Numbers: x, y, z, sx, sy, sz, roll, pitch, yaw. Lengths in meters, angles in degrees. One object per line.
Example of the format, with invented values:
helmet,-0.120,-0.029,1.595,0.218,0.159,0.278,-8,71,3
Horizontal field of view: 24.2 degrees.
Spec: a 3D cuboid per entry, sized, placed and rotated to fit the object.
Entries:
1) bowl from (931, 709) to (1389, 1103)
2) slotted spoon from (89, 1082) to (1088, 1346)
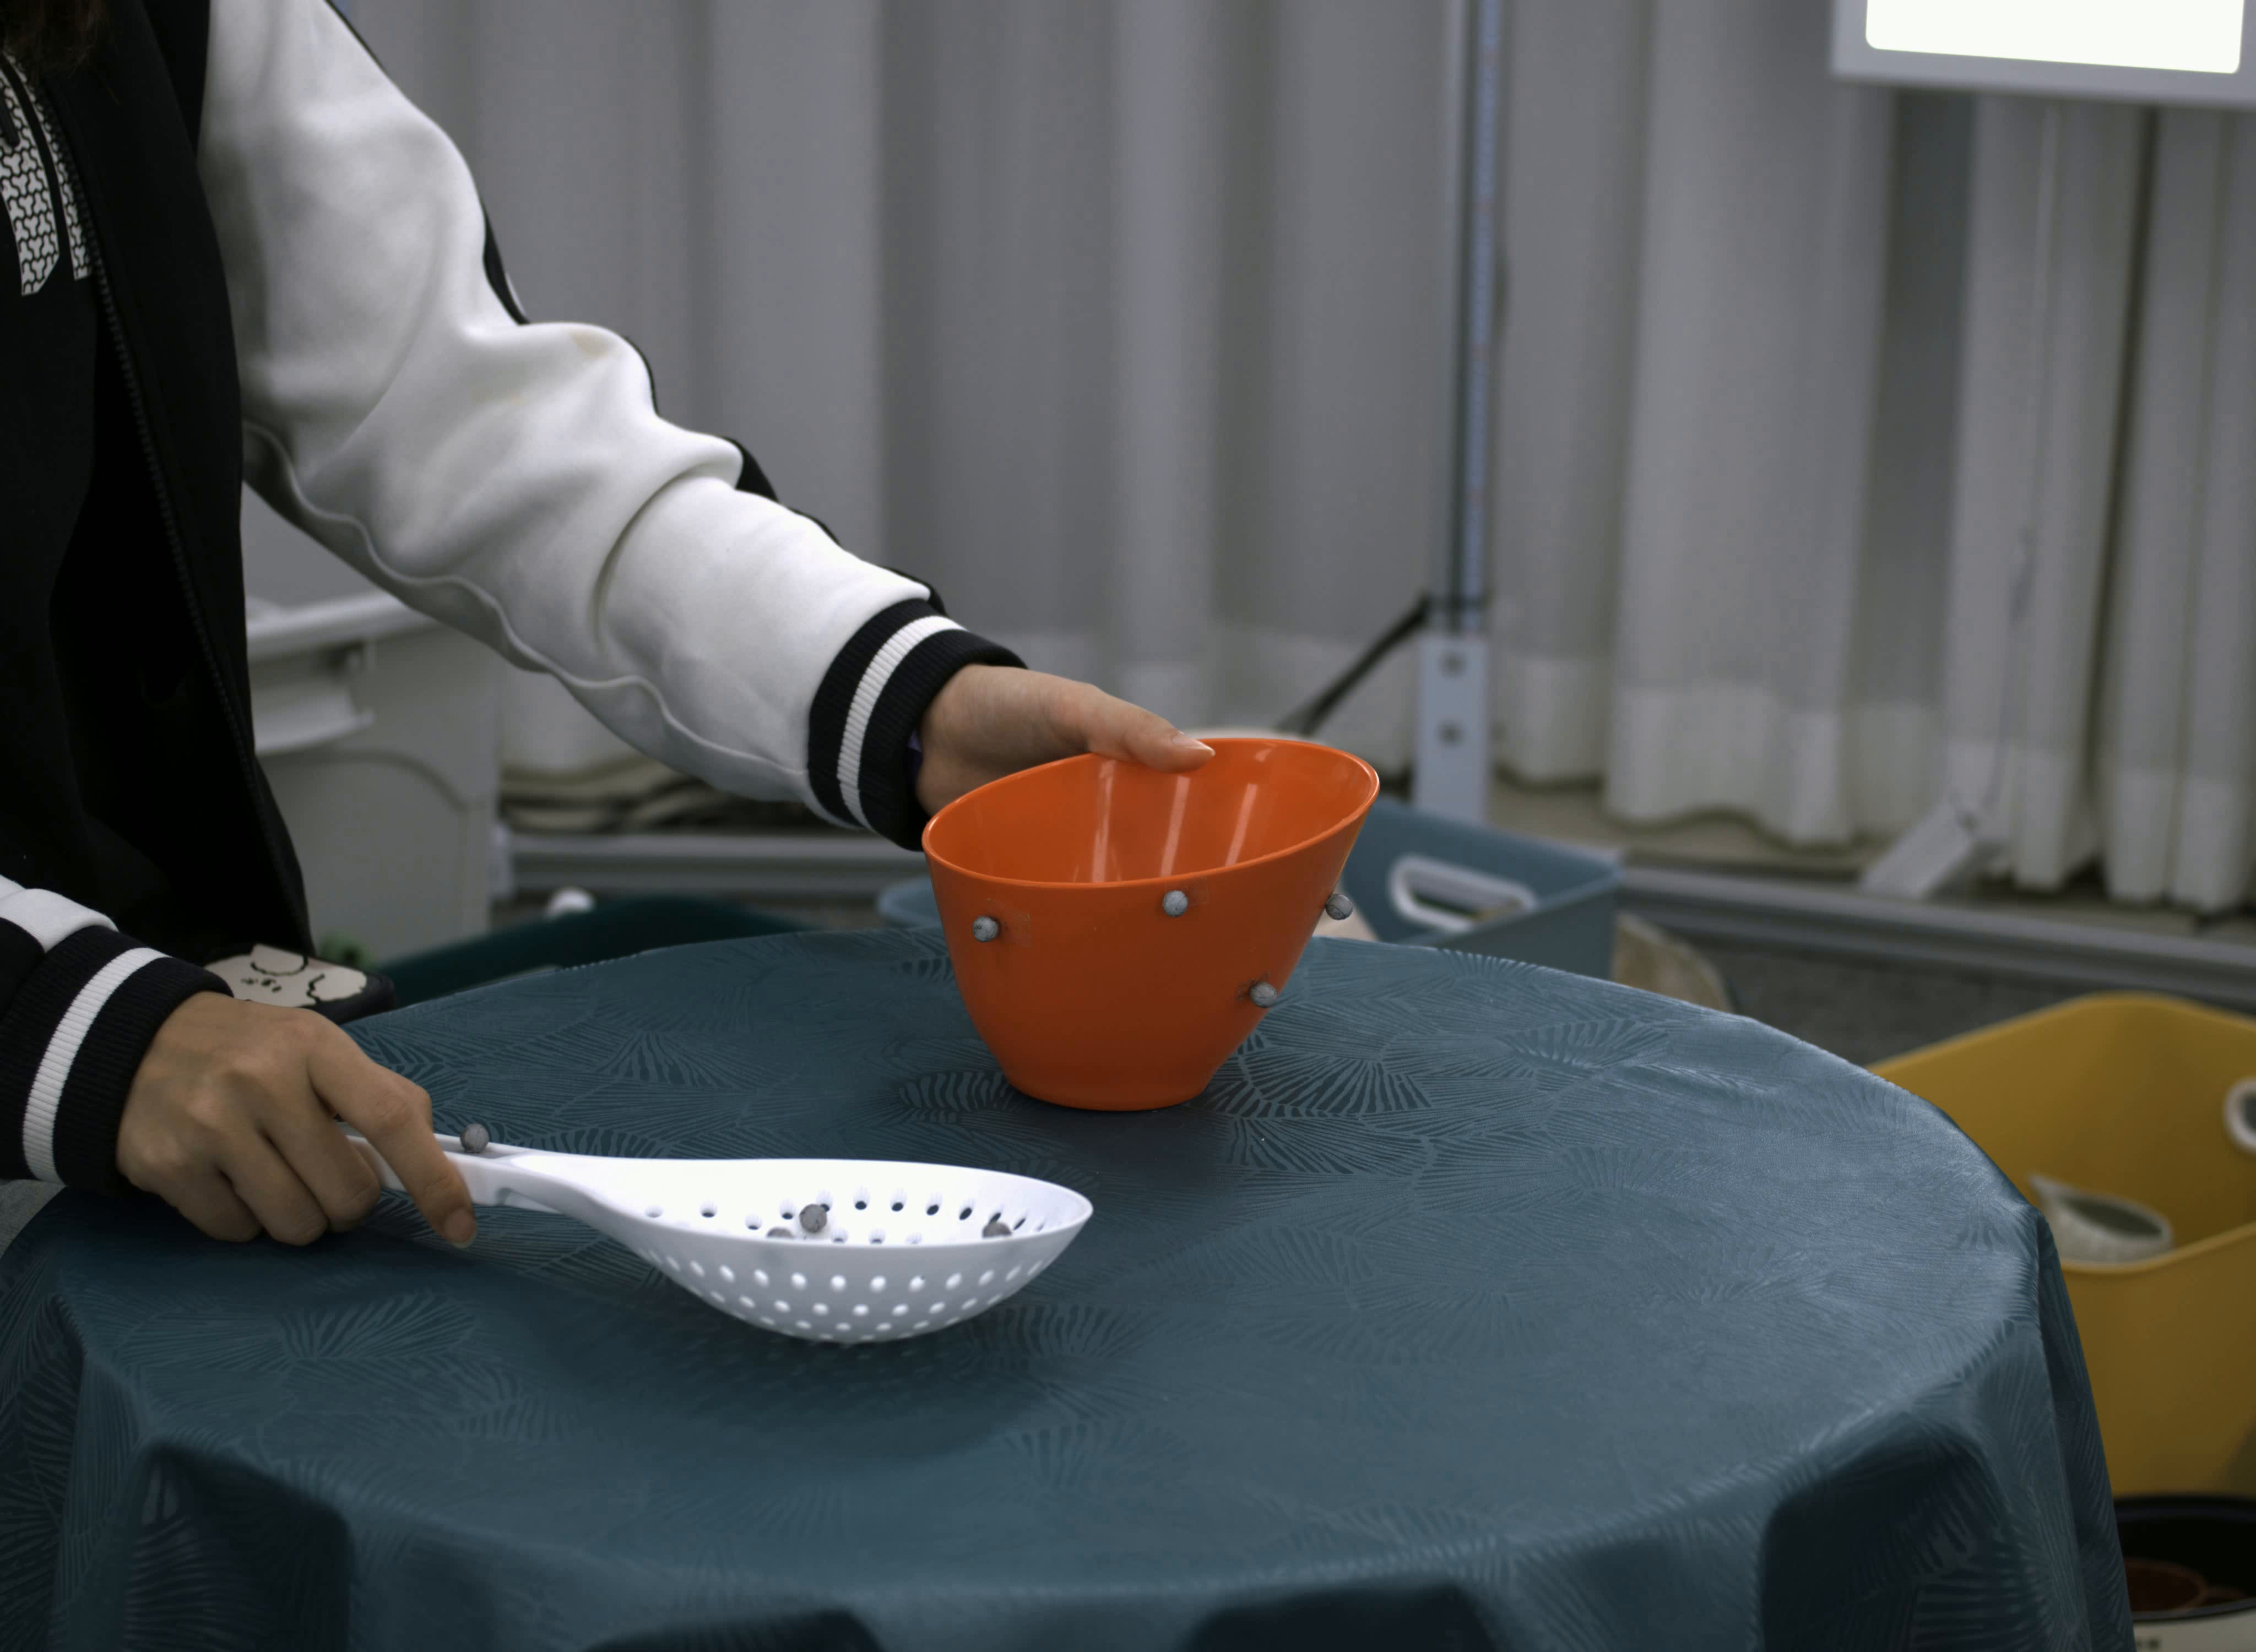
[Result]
bowl,0.010,0.029,1.707,0.147,0.106,0.147,1,23,0
slotted spoon,-0.170,0.104,1.543,0.345,0.046,0.137,12,10,31
